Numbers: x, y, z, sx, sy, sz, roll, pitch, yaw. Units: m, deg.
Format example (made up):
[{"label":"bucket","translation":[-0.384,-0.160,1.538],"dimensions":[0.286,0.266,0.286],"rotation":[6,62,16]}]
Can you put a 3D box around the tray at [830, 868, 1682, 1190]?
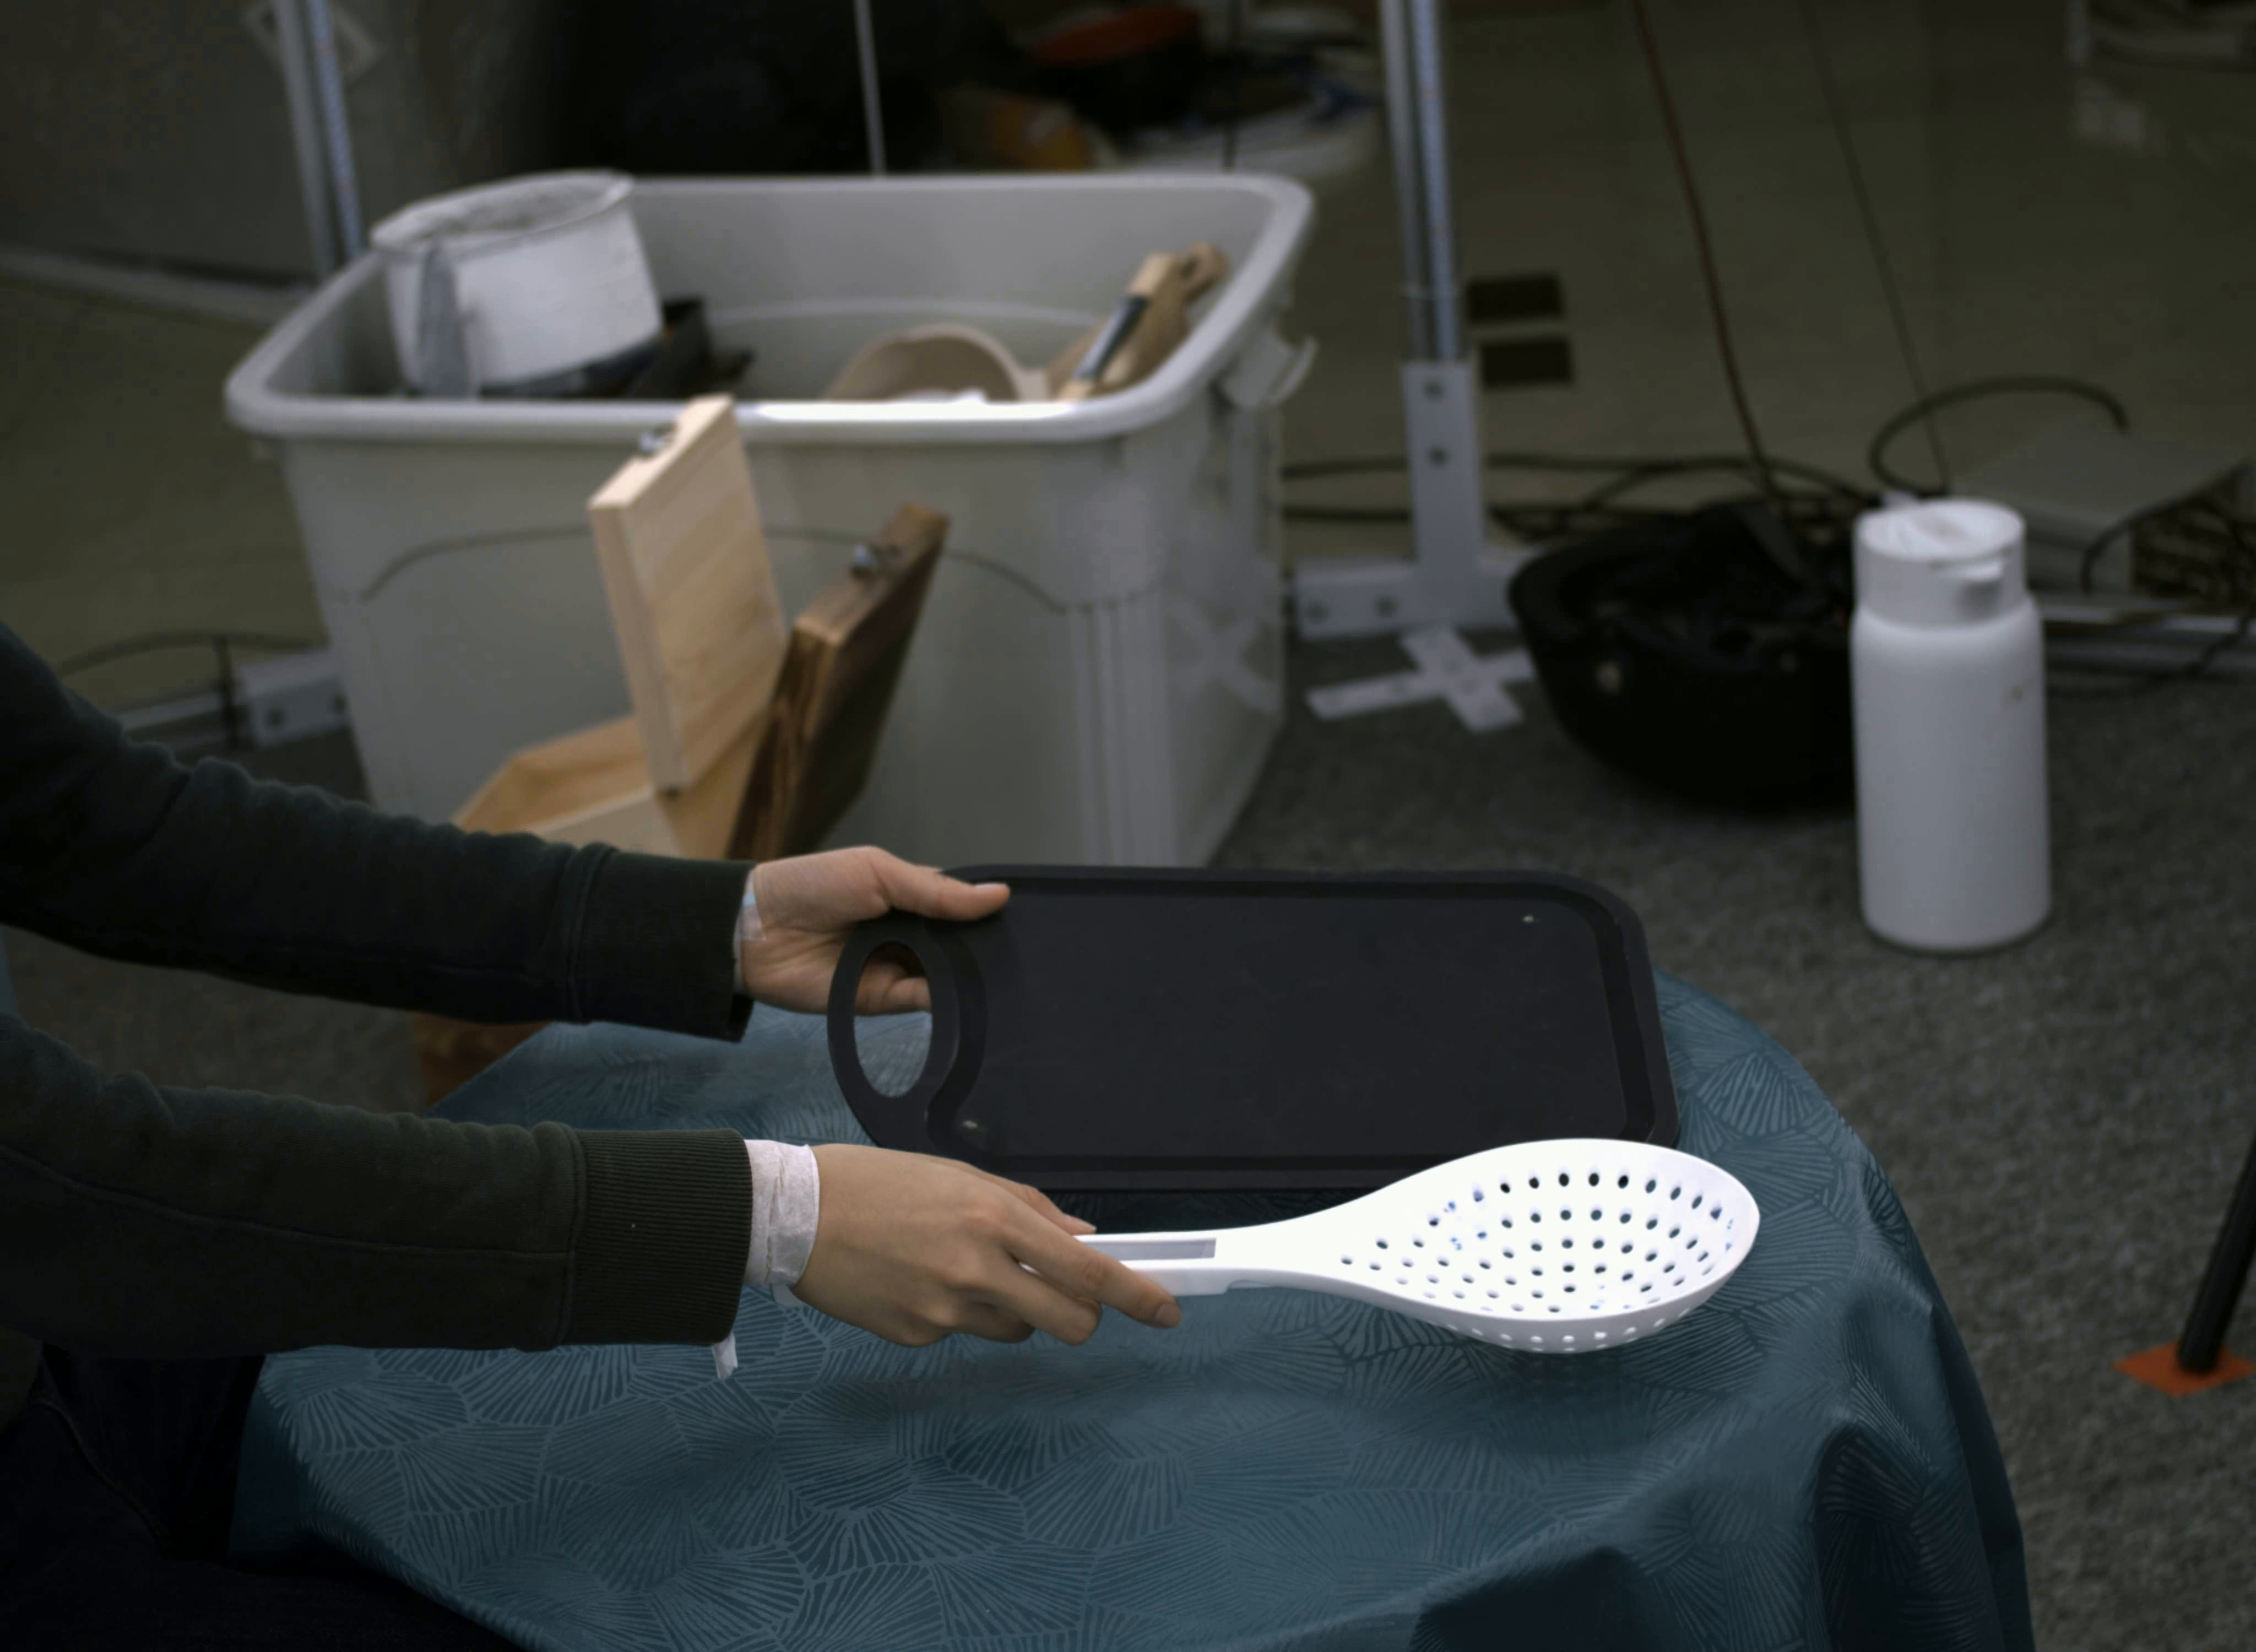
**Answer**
[{"label":"tray","translation":[0.047,0.075,2.193],"dimensions":[0.325,0.010,0.207],"rotation":[1,34,-2]}]

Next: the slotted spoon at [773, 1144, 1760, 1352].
[{"label":"slotted spoon","translation":[0.047,0.153,2.015],"dimensions":[0.349,0.046,0.134],"rotation":[2,23,3]}]
